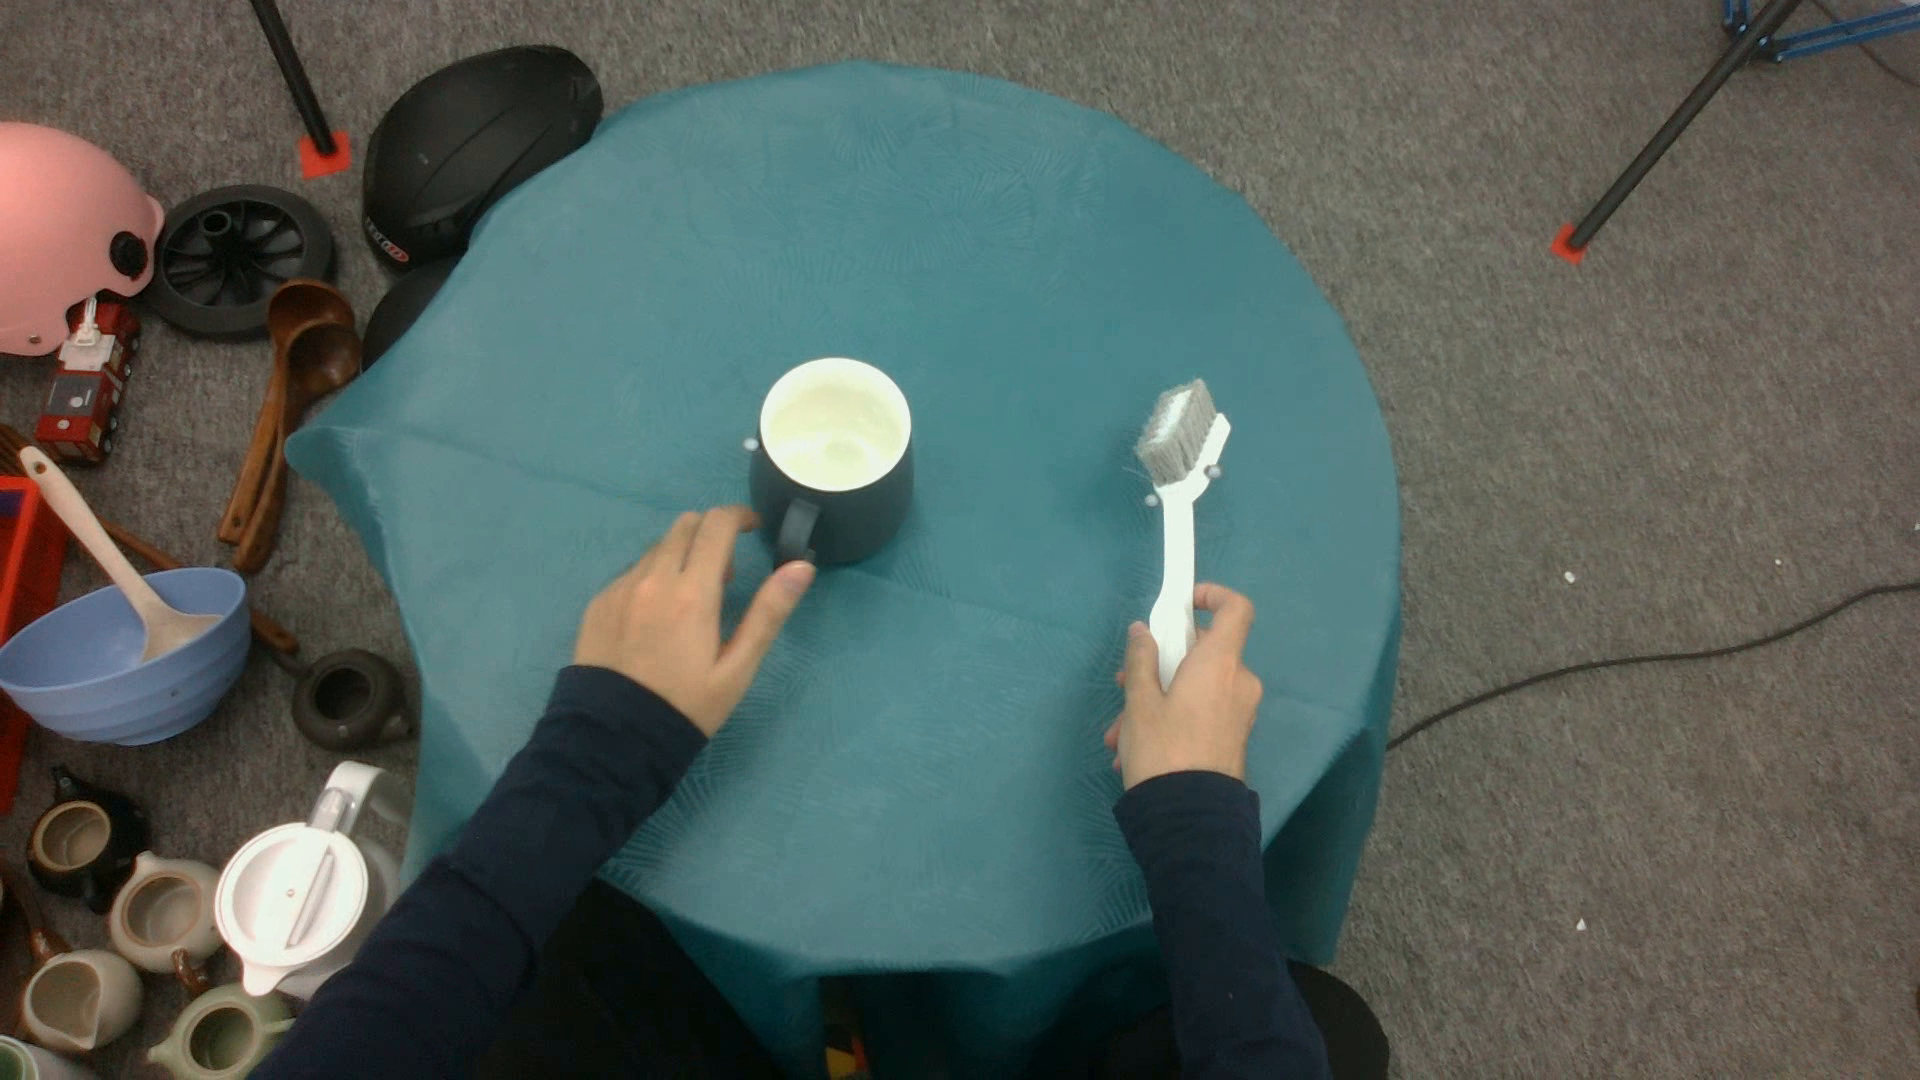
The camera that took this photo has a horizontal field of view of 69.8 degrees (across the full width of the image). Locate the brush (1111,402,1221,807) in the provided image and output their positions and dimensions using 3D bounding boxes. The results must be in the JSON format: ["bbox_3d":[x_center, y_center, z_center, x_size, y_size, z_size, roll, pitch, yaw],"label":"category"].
[{"bbox_3d":[0.106,0.026,0.762,0.034,0.050,0.245,-8,53,36],"label":"brush"}]

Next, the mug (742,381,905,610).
[{"bbox_3d":[-0.081,-0.019,0.763,0.093,0.089,0.124,20,62,4],"label":"mug"}]
